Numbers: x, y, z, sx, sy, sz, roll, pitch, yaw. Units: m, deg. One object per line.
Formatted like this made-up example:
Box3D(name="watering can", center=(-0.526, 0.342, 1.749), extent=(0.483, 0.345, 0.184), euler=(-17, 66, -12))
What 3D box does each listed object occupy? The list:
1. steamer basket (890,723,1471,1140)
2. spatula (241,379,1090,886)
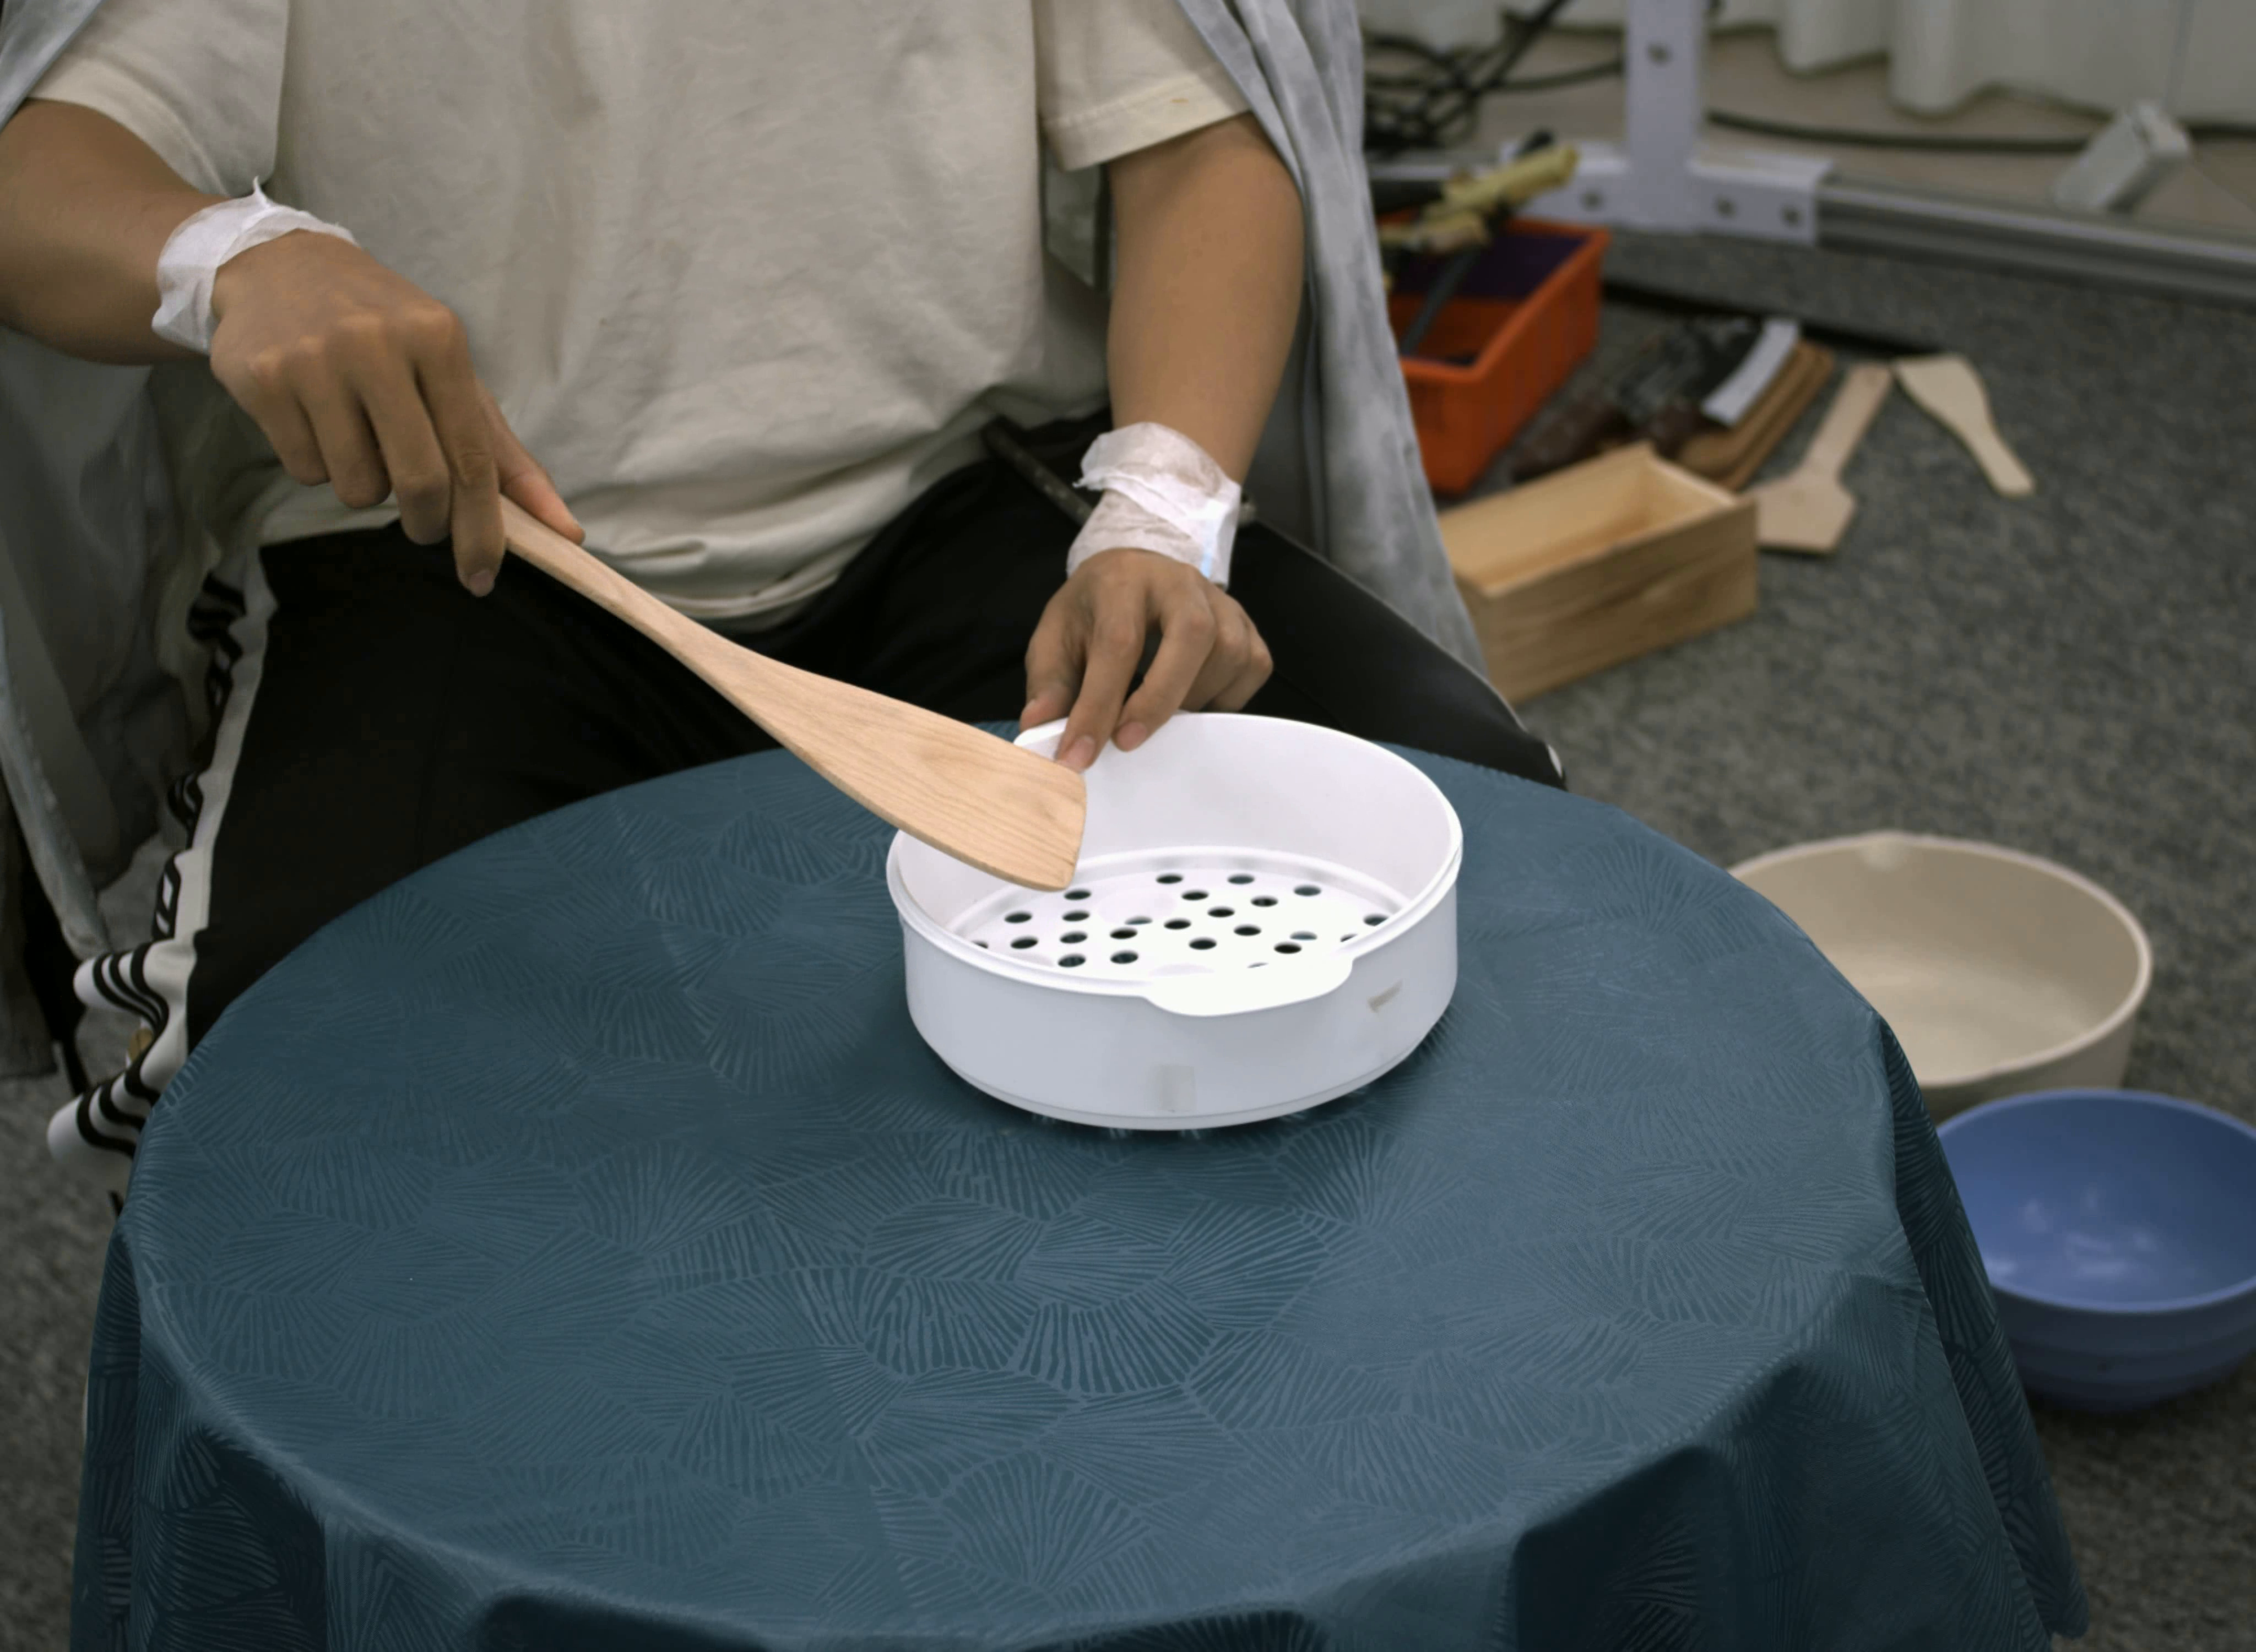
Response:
Box3D(name="steamer basket", center=(0.019, 0.038, 1.951), extent=(0.202, 0.068, 0.233), euler=(-8, 27, -12))
Box3D(name="spatula", center=(-0.155, -0.071, 1.906), extent=(0.327, 0.016, 0.081), euler=(30, 30, 0))
